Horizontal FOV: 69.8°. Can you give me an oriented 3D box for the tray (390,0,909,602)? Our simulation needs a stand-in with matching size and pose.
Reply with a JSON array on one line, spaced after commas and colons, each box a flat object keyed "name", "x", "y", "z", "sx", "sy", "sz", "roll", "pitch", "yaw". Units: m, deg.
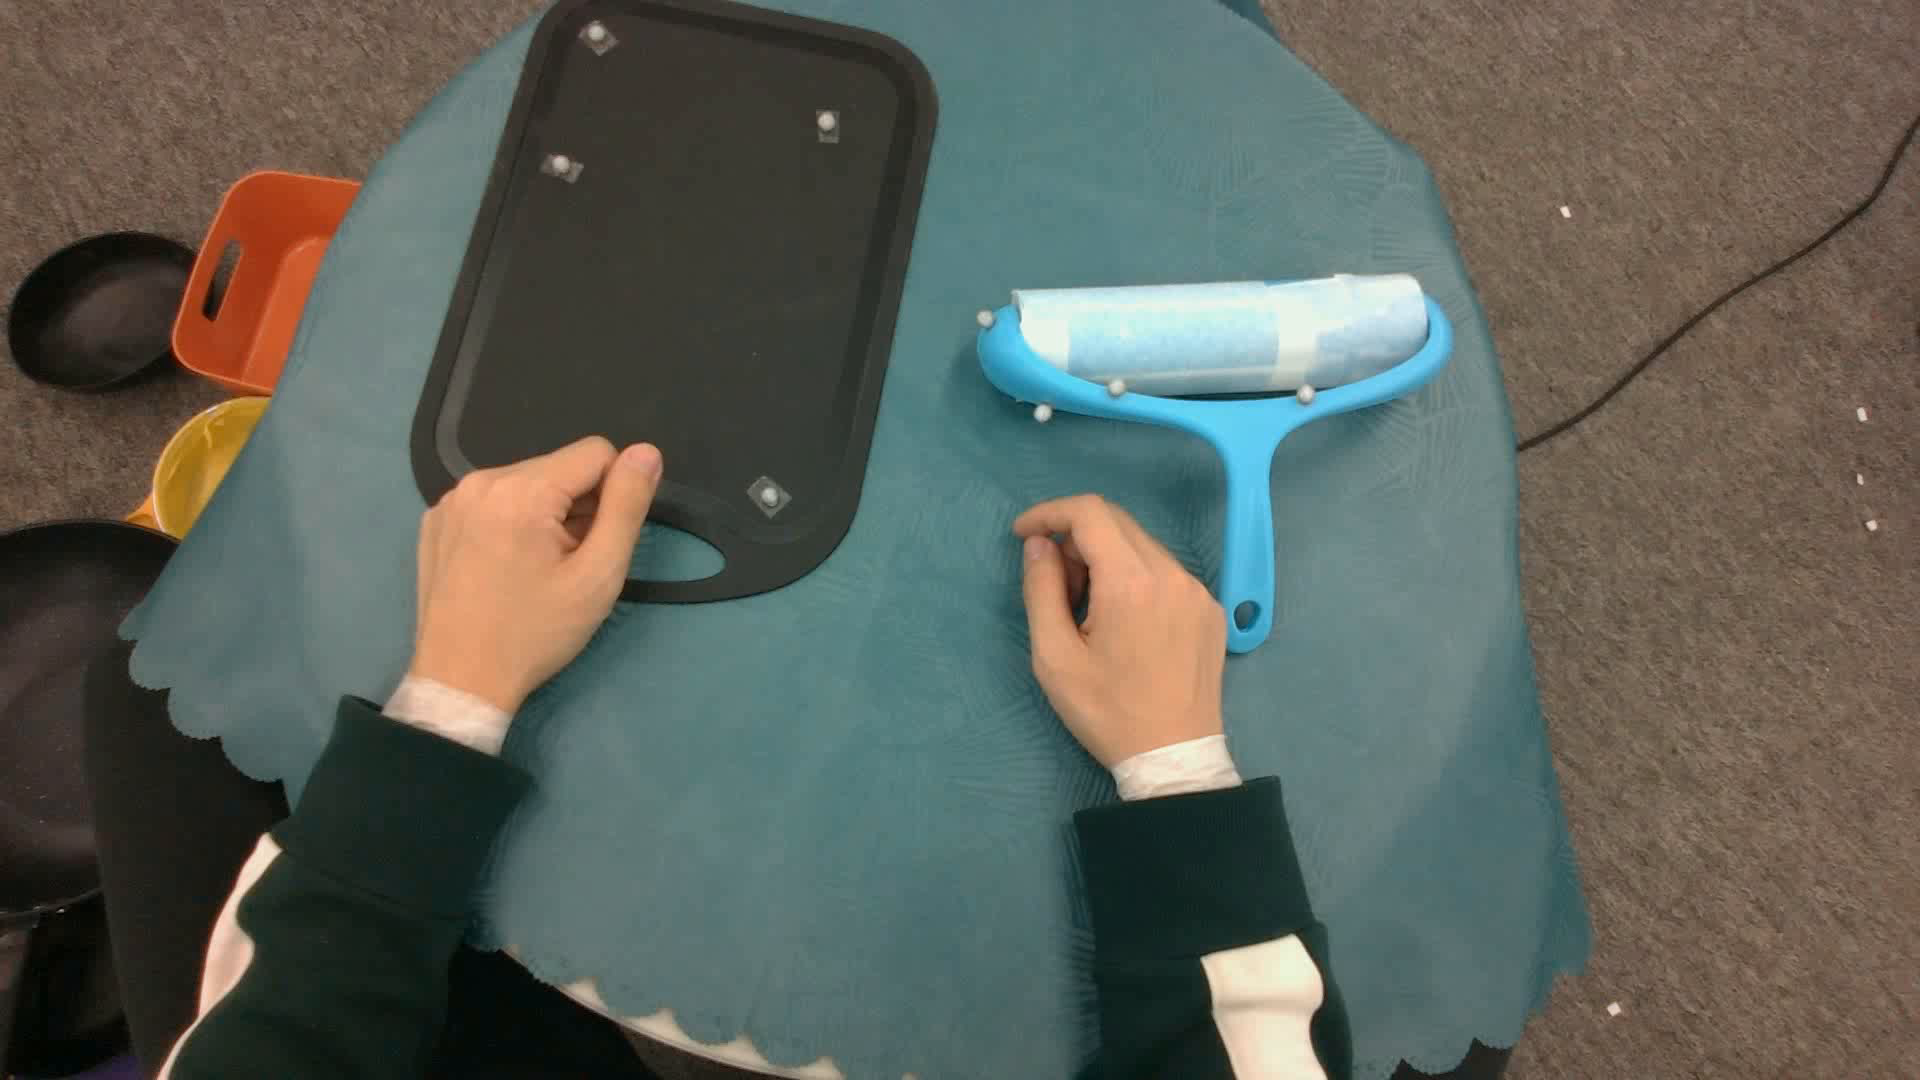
[{"name": "tray", "x": -0.146, "y": -0.128, "z": 0.674, "sx": 0.211, "sy": 0.010, "sz": 0.326, "roll": 10, "pitch": 73, "yaw": -3}]

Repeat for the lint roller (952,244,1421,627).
[{"name": "lint roller", "x": 0.119, "y": -0.053, "z": 0.651, "sx": 0.229, "sy": 0.067, "sz": 0.180, "roll": -7, "pitch": 74, "yaw": -9}]
